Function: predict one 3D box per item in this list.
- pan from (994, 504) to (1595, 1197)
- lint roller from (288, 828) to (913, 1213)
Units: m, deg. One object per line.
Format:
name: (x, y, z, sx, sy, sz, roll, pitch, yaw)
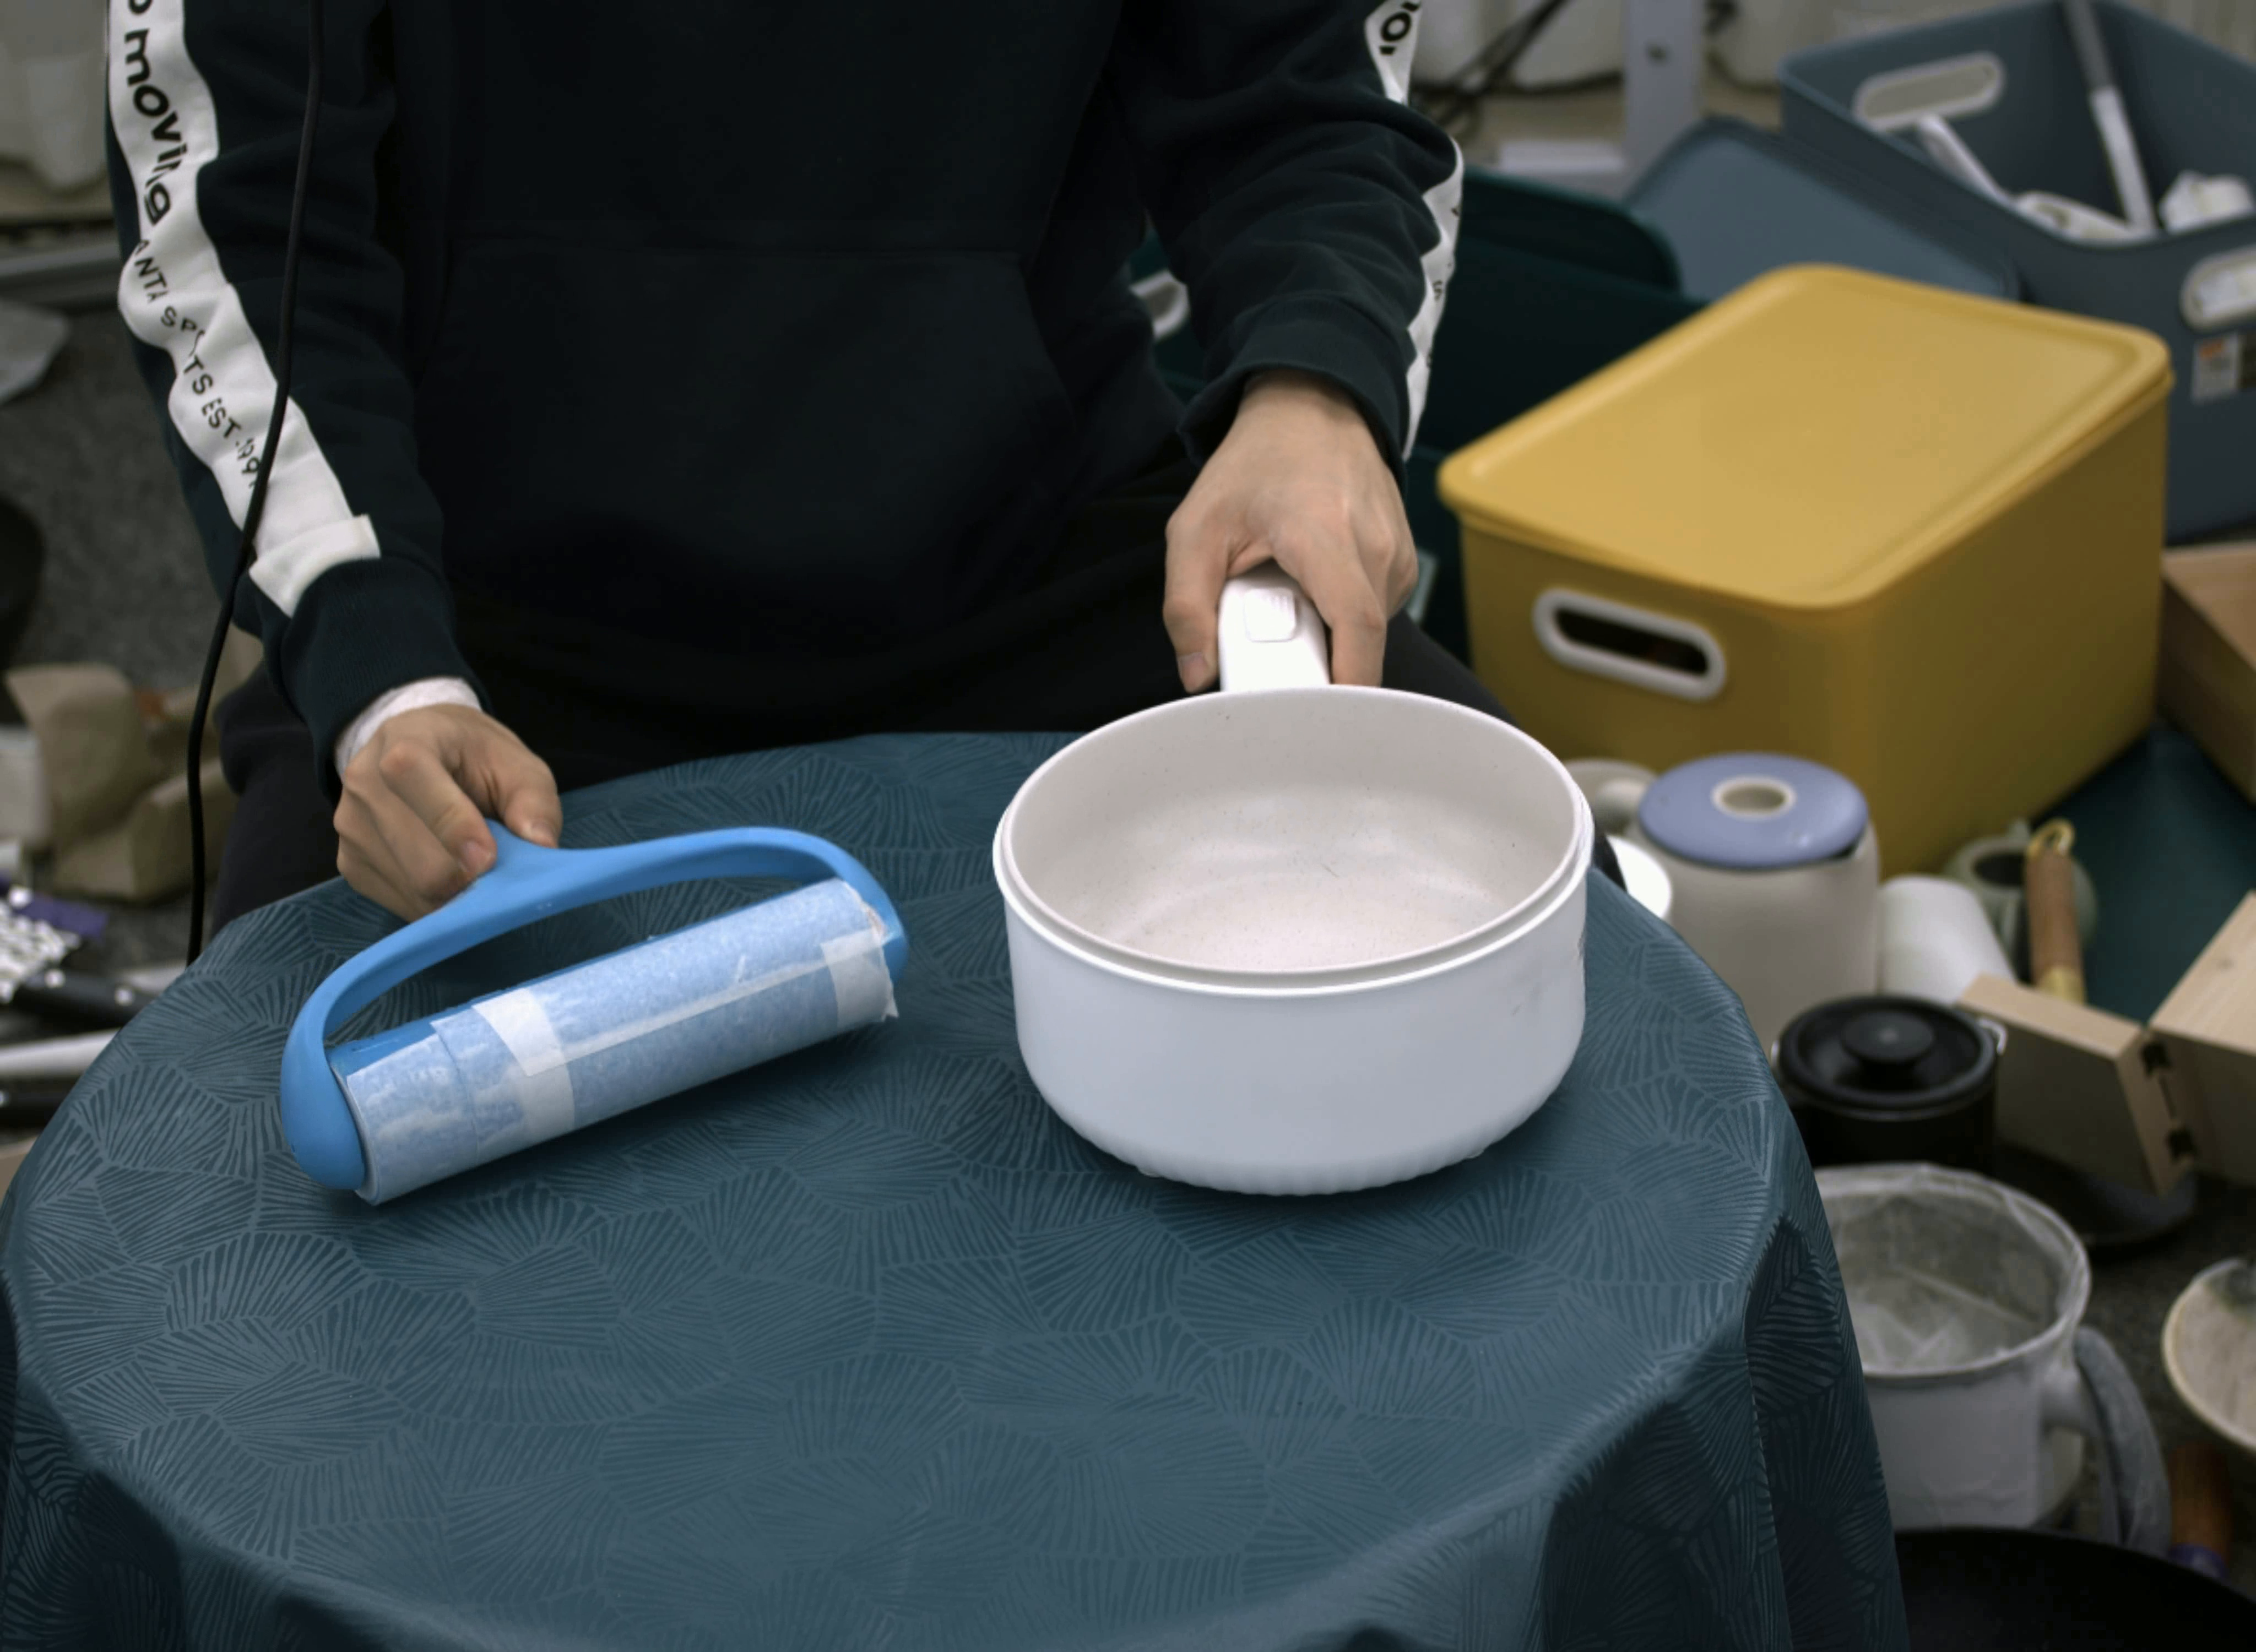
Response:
pan: (0.056, 0.006, 1.965, 0.200, 0.101, 0.360, -3, 28, 0)
lint roller: (-0.208, 0.041, 1.944, 0.230, 0.067, 0.181, -23, 44, -25)
